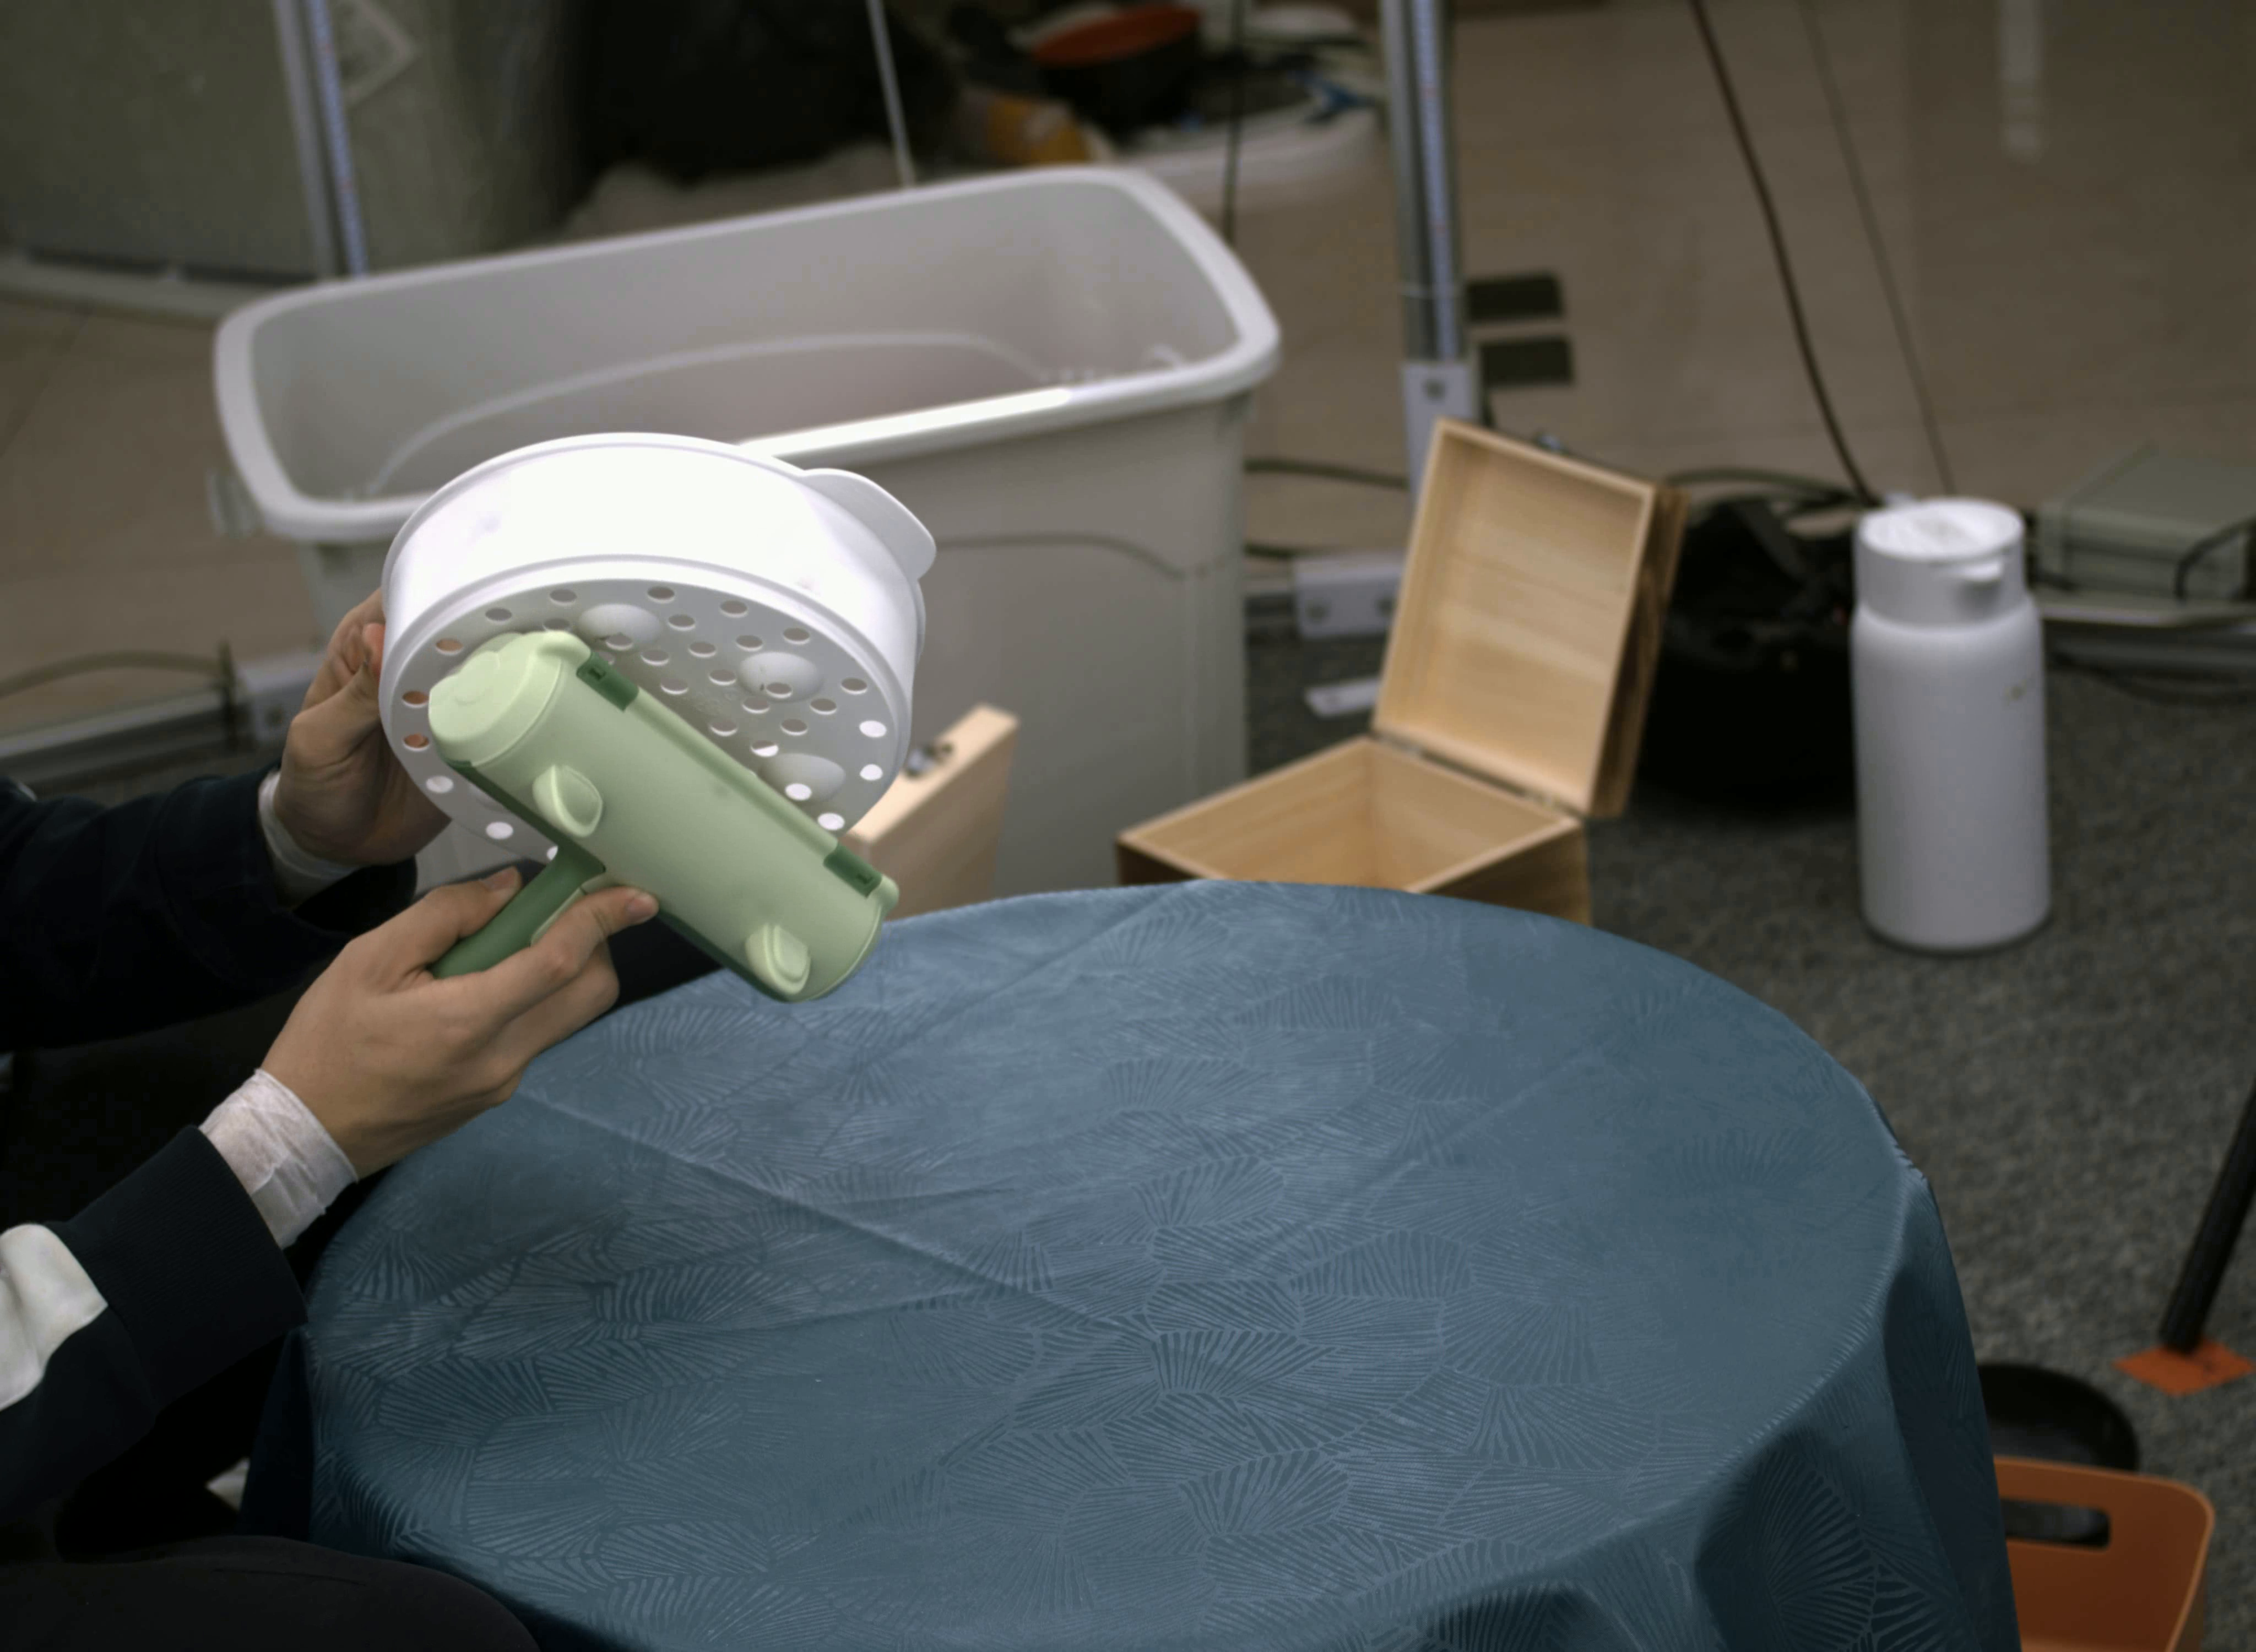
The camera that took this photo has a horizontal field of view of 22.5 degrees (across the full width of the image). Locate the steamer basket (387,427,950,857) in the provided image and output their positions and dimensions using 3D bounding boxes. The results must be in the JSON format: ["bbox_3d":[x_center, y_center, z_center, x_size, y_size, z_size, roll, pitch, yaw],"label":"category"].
[{"bbox_3d":[-0.171,-0.058,2.066,0.231,0.204,0.068,-19,50,28],"label":"steamer basket"}]

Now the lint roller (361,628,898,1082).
[{"bbox_3d":[-0.204,0.040,2.046,0.184,0.201,0.081,-46,40,7],"label":"lint roller"}]
